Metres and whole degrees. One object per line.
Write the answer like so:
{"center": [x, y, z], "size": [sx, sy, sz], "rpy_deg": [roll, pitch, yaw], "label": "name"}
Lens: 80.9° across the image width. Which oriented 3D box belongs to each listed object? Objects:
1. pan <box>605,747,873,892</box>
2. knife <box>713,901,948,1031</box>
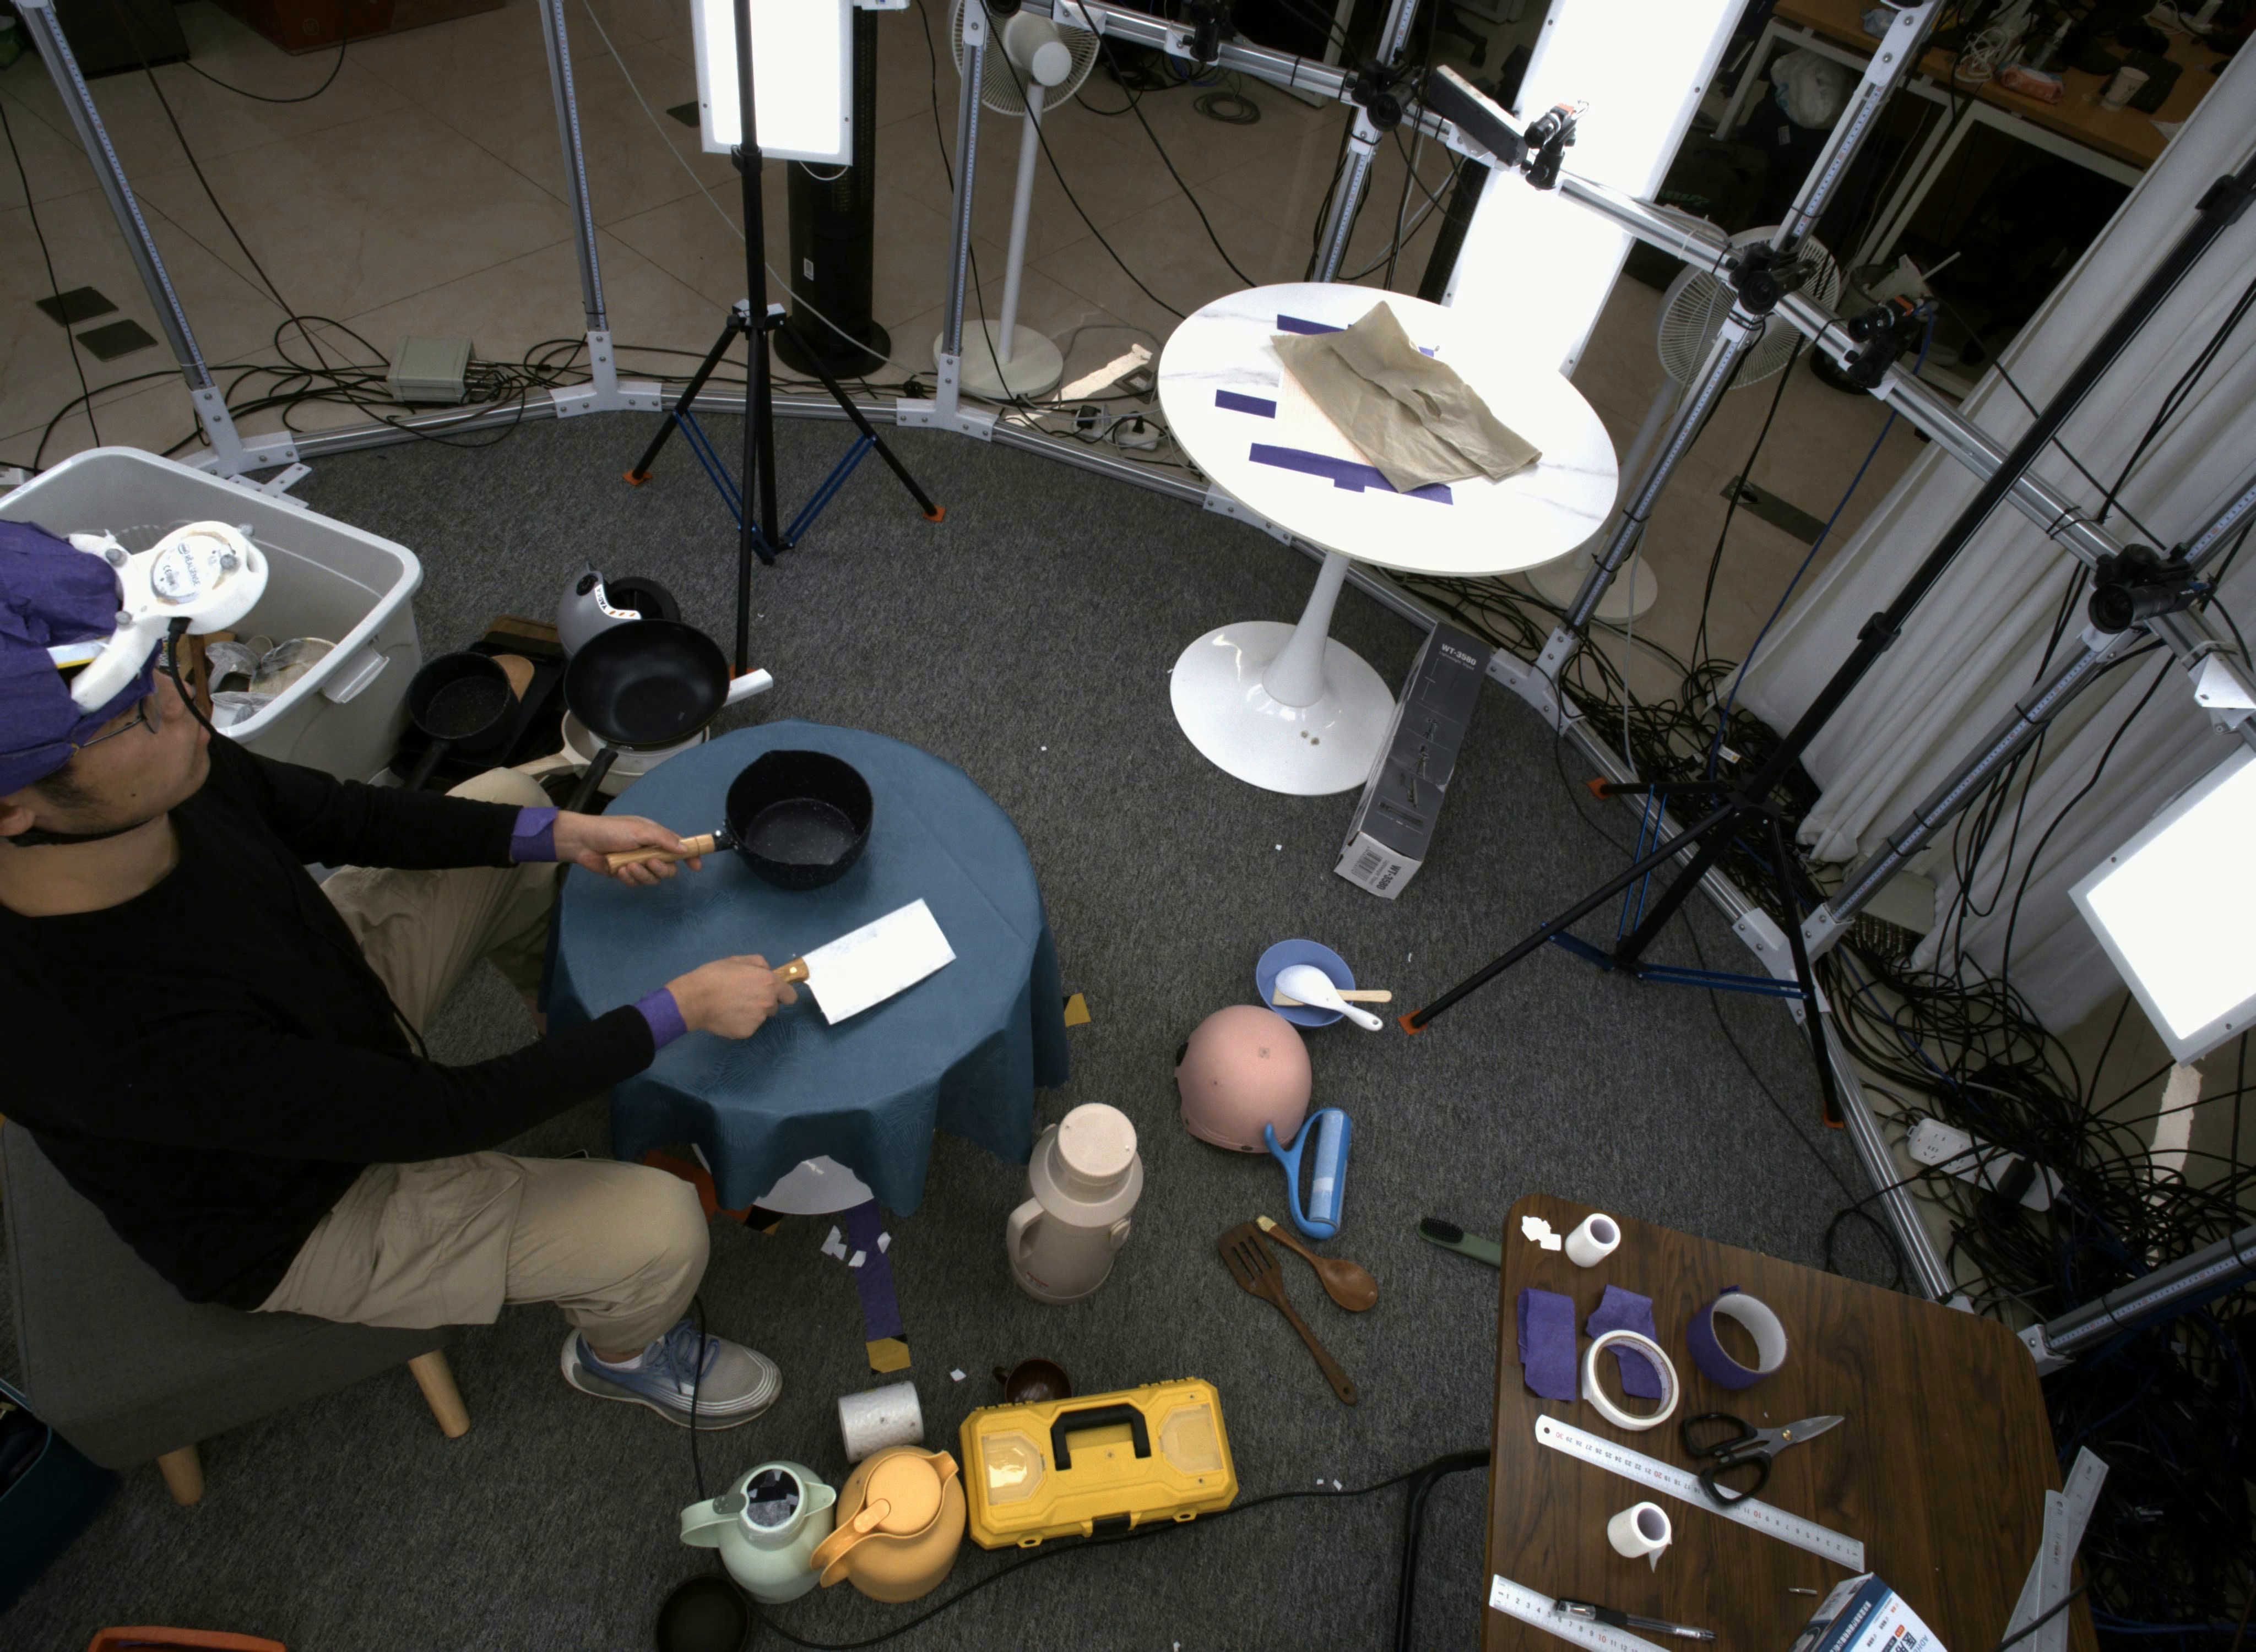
{"center": [-0.486, 0.018, 1.623], "size": [0.344, 0.110, 0.202], "rpy_deg": [-23, 62, -29], "label": "pan"}
{"center": [-0.347, 0.182, 1.562], "size": [0.308, 0.021, 0.092], "rpy_deg": [-27, 81, -39], "label": "knife"}
